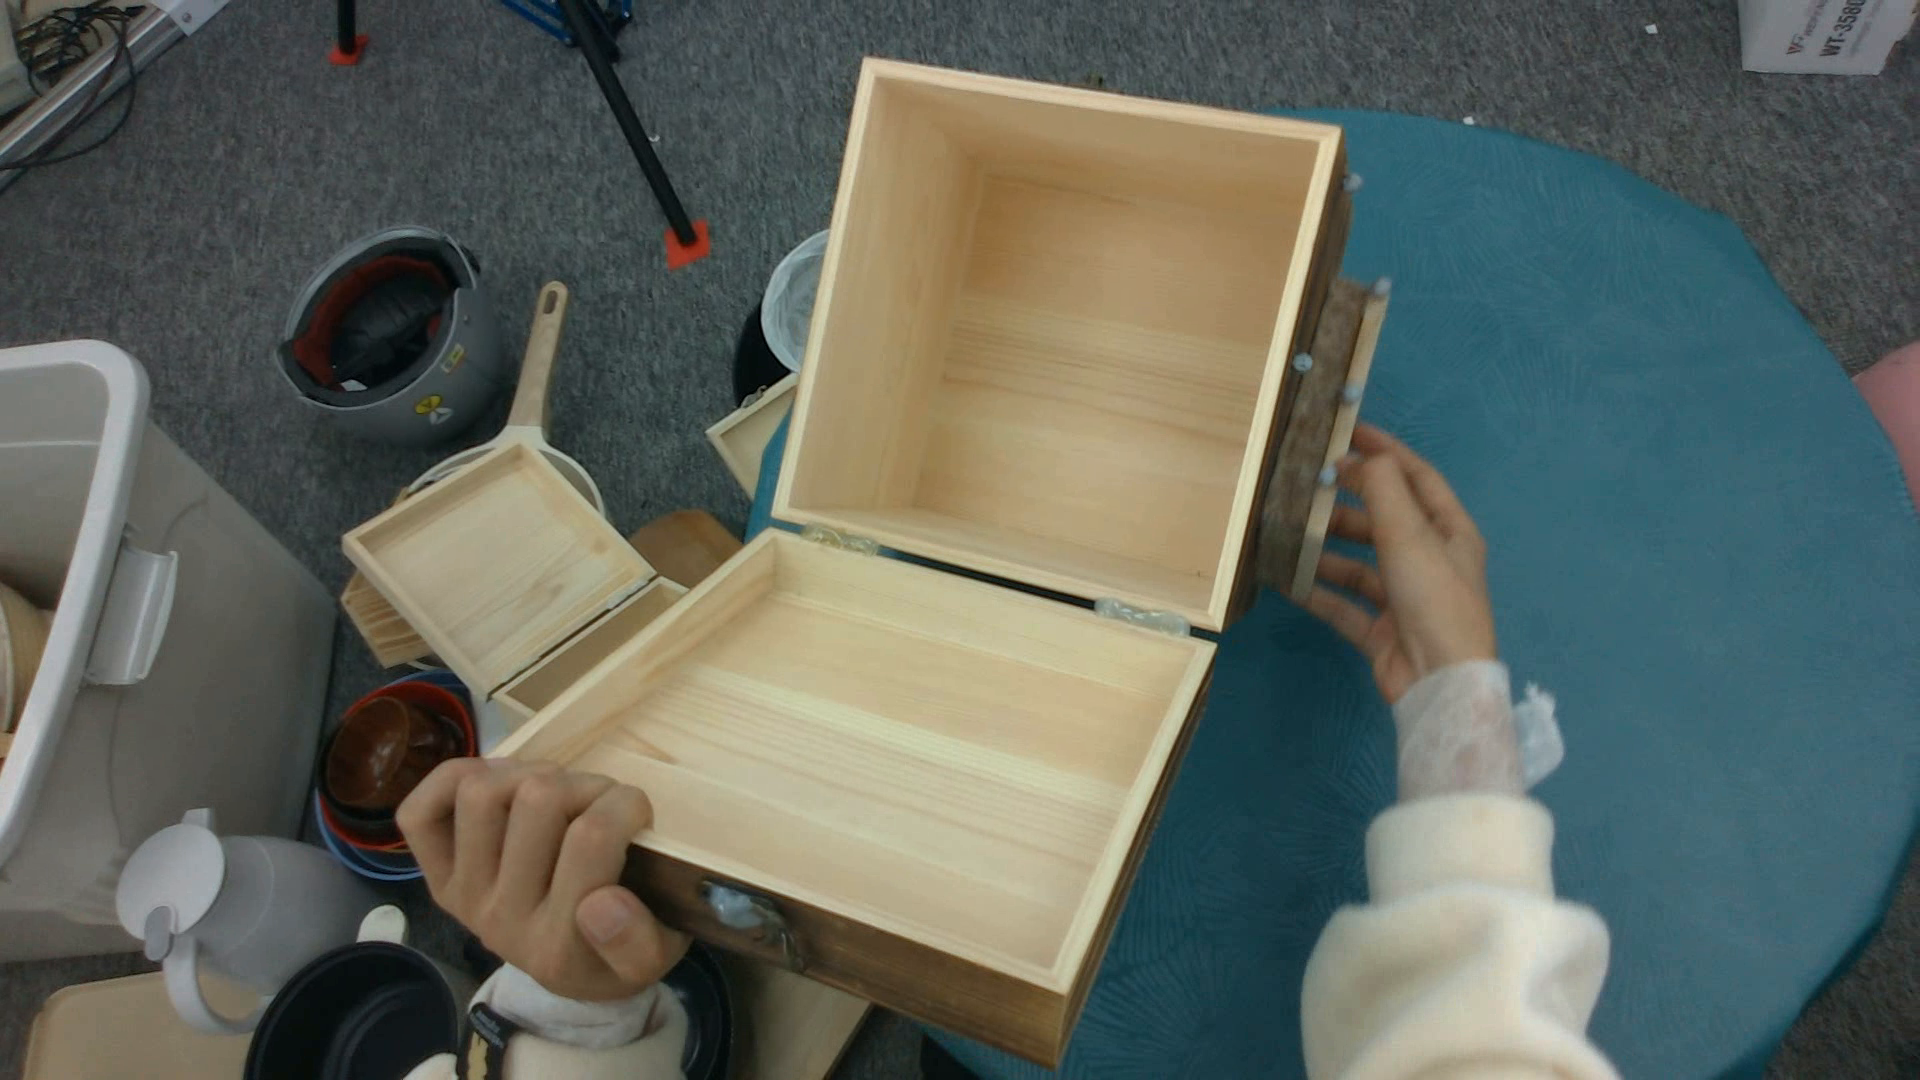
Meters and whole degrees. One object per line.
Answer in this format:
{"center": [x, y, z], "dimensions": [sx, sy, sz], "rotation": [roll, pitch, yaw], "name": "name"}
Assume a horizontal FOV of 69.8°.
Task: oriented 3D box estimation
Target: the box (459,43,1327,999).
{"center": [0.014, -0.040, 0.554], "dimensions": [0.208, 0.376, 0.322], "rotation": [13, 94, 15], "name": "box"}

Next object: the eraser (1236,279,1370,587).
{"center": [0.158, -0.052, 0.637], "dimensions": [0.029, 0.057, 0.140], "rotation": [15, 61, 15], "name": "eraser"}
